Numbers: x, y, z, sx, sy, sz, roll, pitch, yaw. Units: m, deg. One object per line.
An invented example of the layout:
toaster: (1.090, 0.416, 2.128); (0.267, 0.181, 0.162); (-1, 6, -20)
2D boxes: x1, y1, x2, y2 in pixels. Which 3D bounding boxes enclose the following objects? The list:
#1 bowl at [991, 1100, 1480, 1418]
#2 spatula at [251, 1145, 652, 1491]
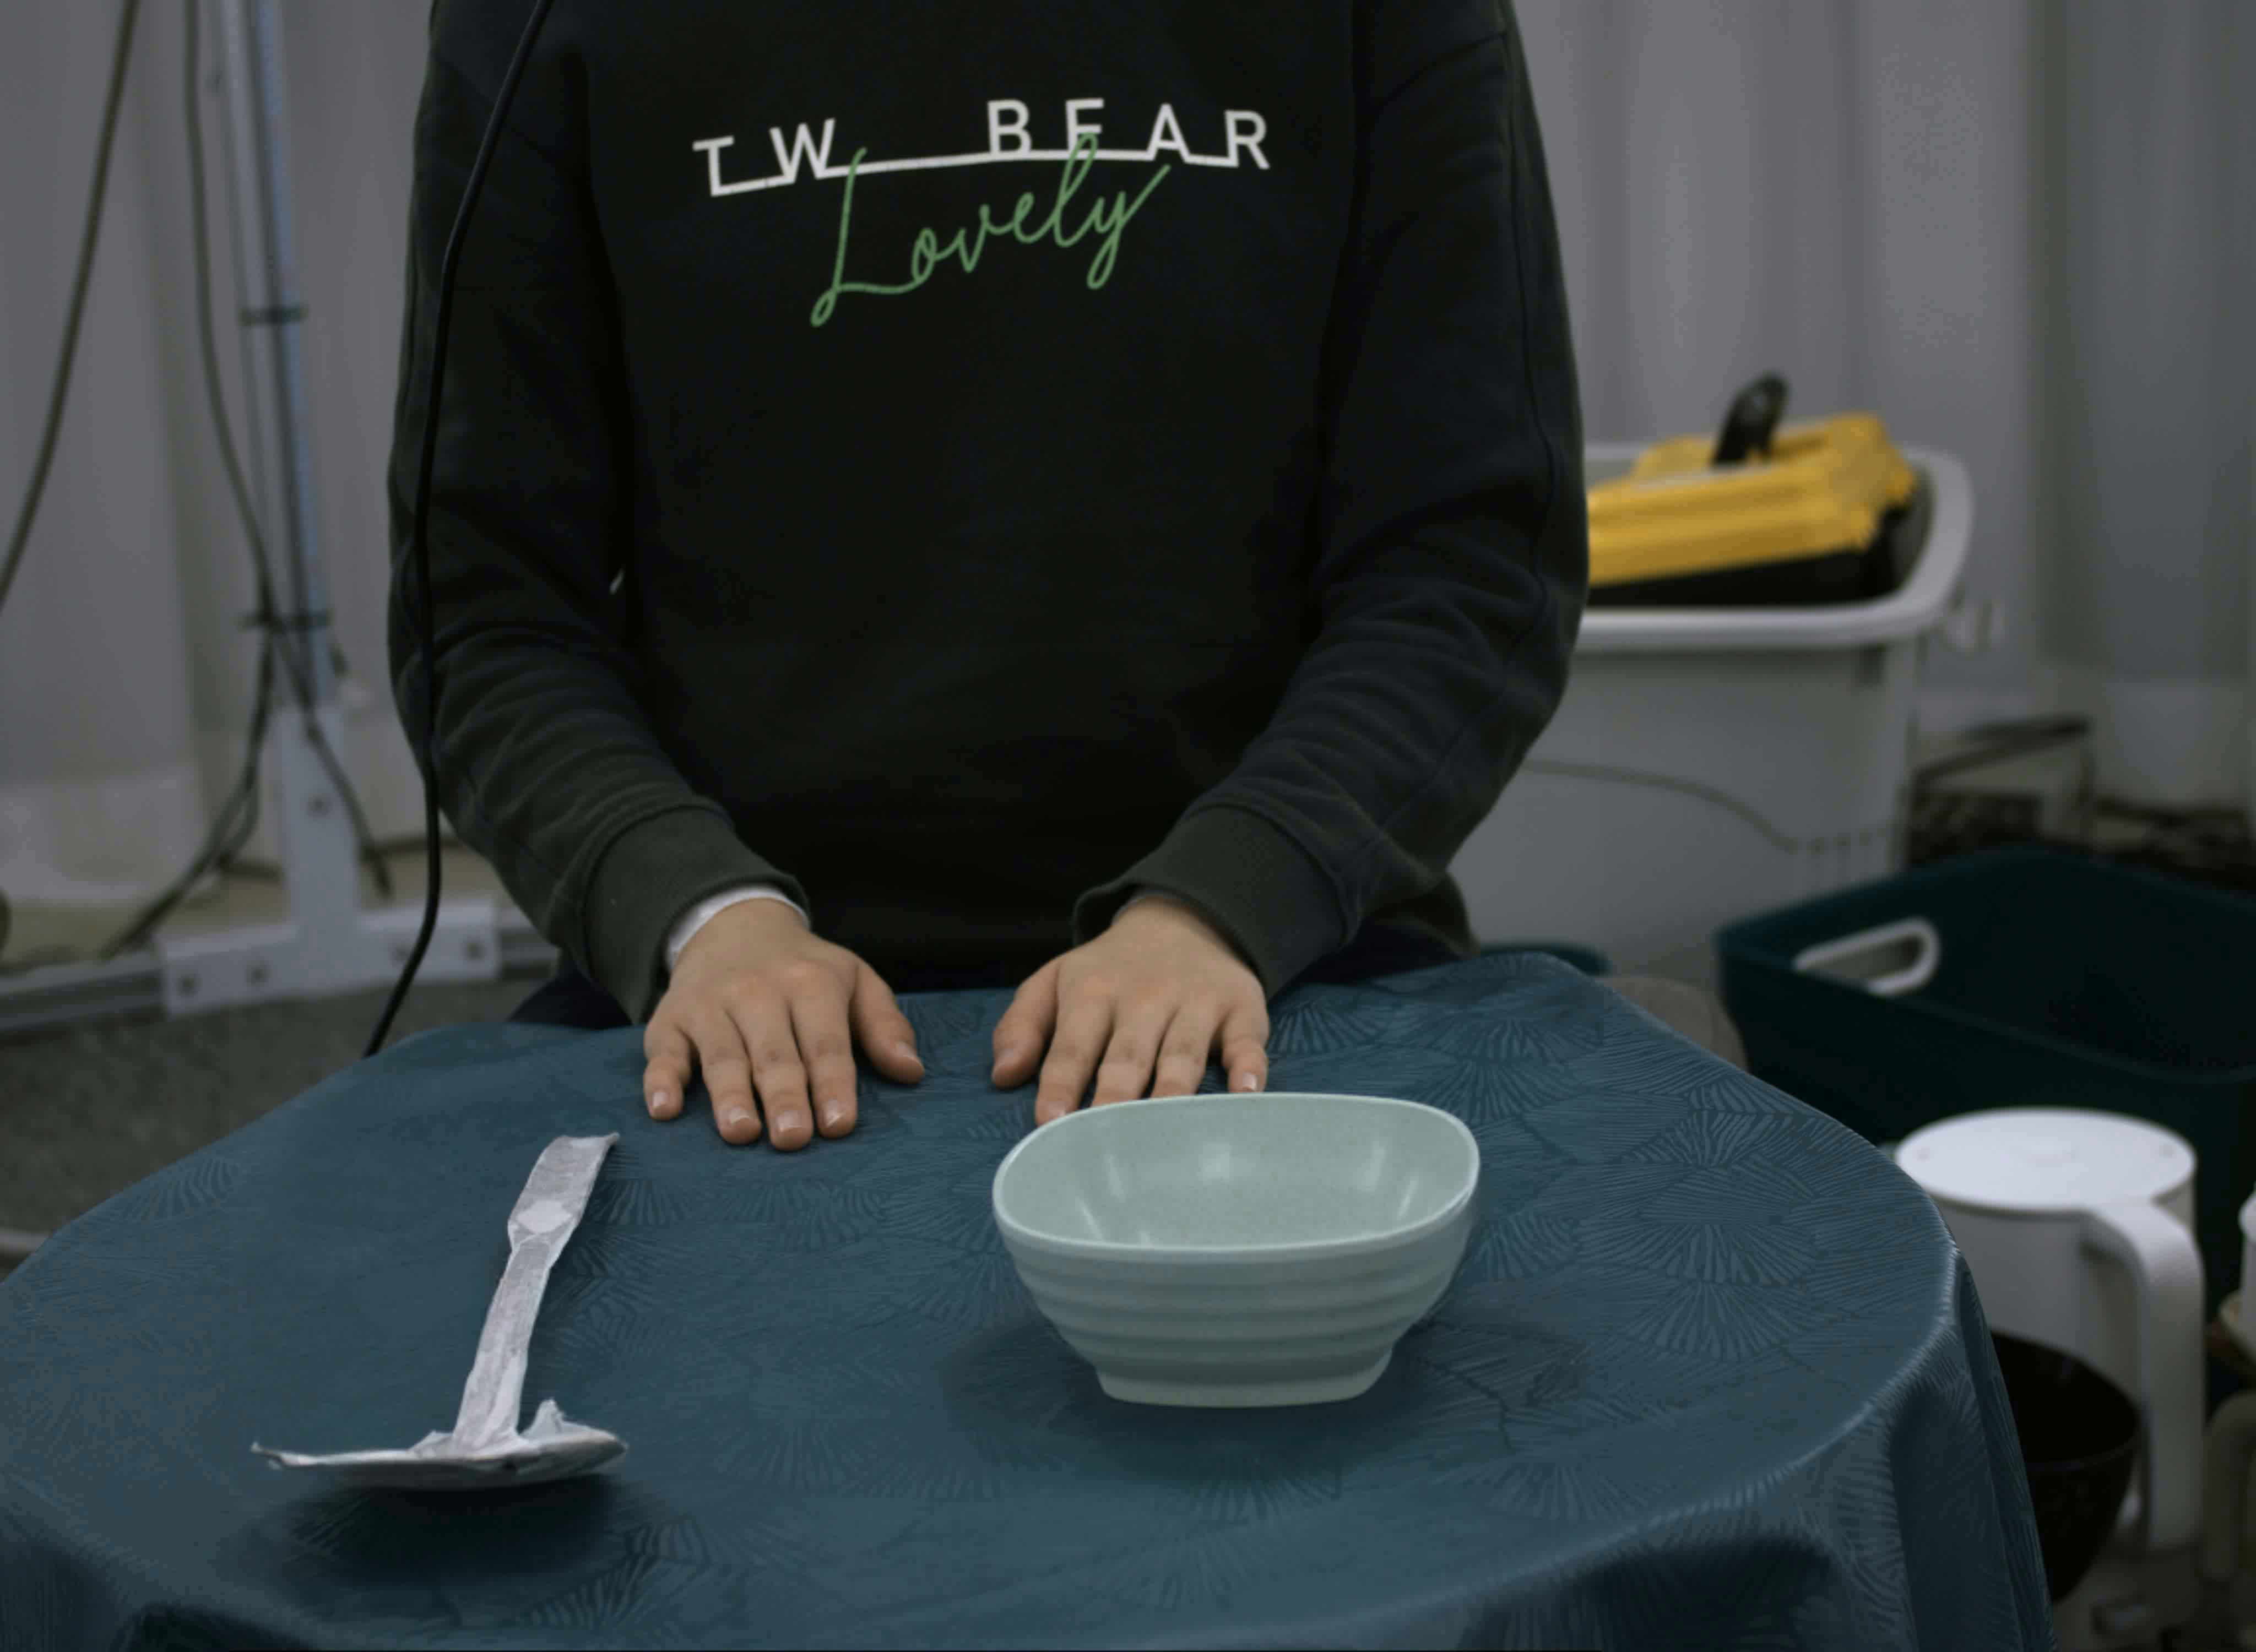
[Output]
bowl: (0.031, 0.127, 1.561); (0.151, 0.058, 0.152); (-1, 15, 0)
spatula: (-0.175, 0.135, 1.598); (0.098, 0.044, 0.367); (-4, 15, 3)
